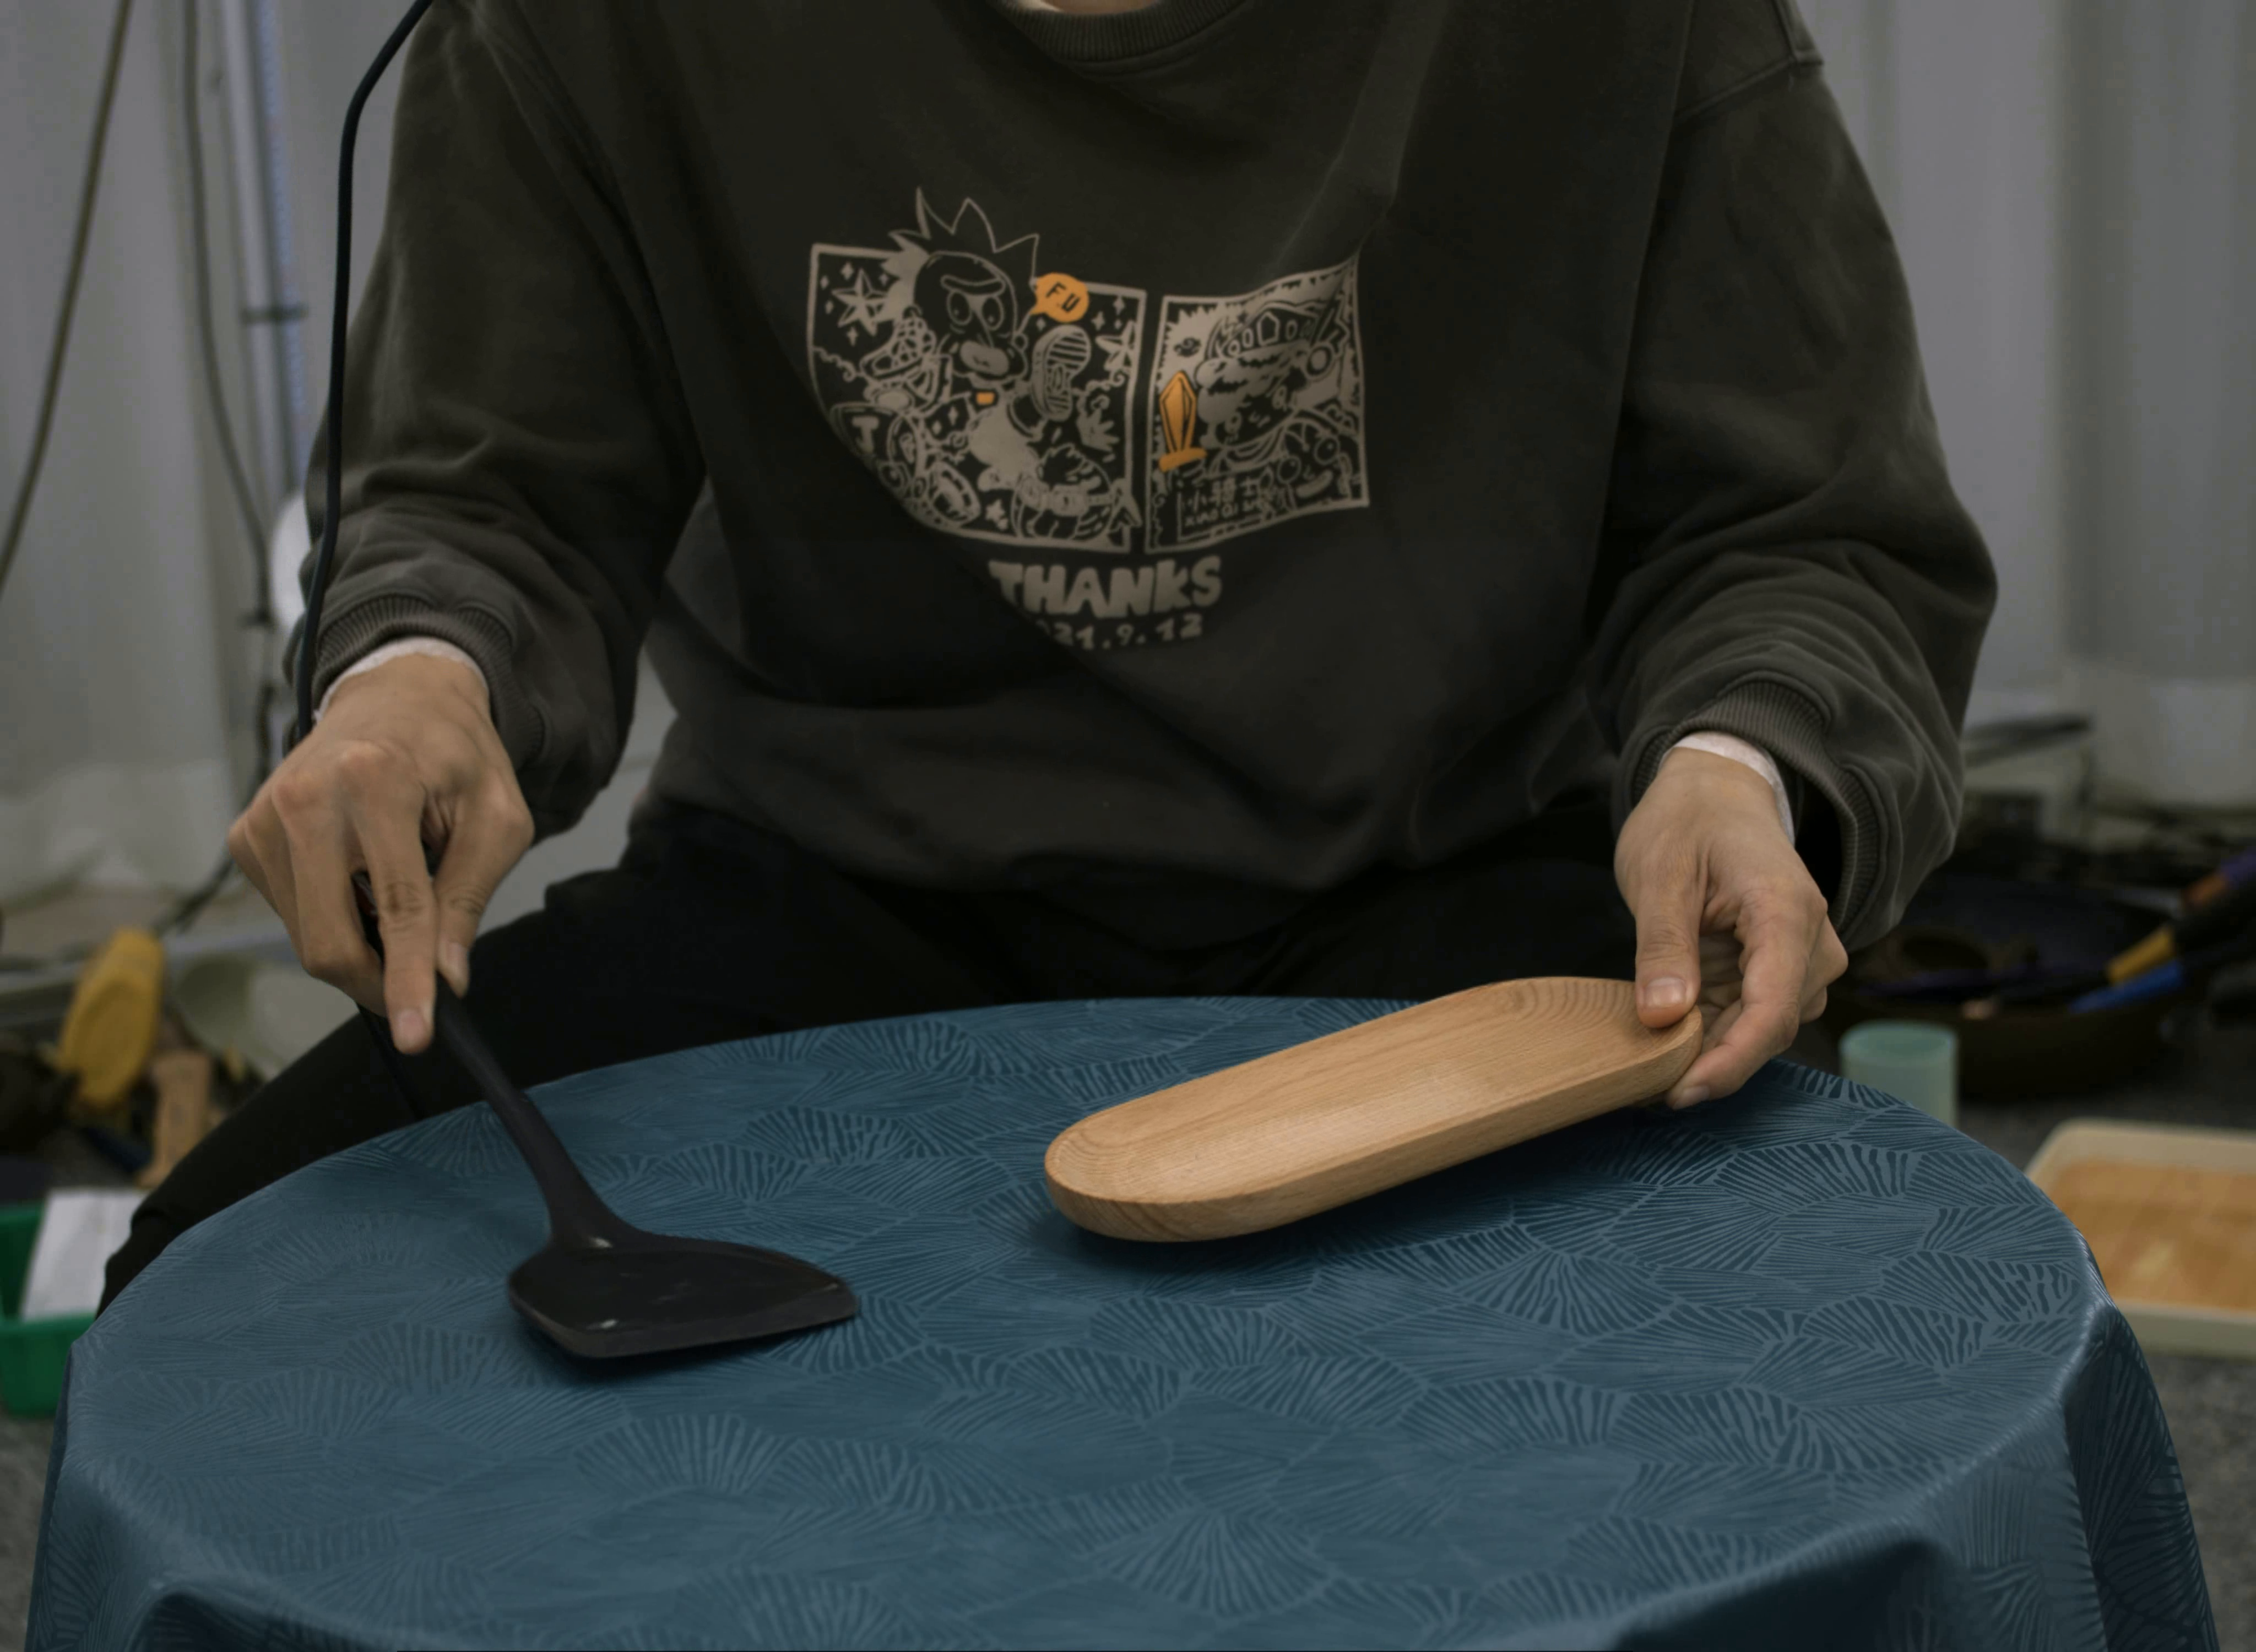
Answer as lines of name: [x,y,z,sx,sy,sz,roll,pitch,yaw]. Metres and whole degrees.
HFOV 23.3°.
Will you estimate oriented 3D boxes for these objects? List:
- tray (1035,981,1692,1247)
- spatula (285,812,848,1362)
tray: [0.076,0.089,1.713,0.230,0.020,0.102,-18,19,-30]
spatula: [-0.199,0.076,1.717,0.099,0.040,0.330,-5,36,-31]
